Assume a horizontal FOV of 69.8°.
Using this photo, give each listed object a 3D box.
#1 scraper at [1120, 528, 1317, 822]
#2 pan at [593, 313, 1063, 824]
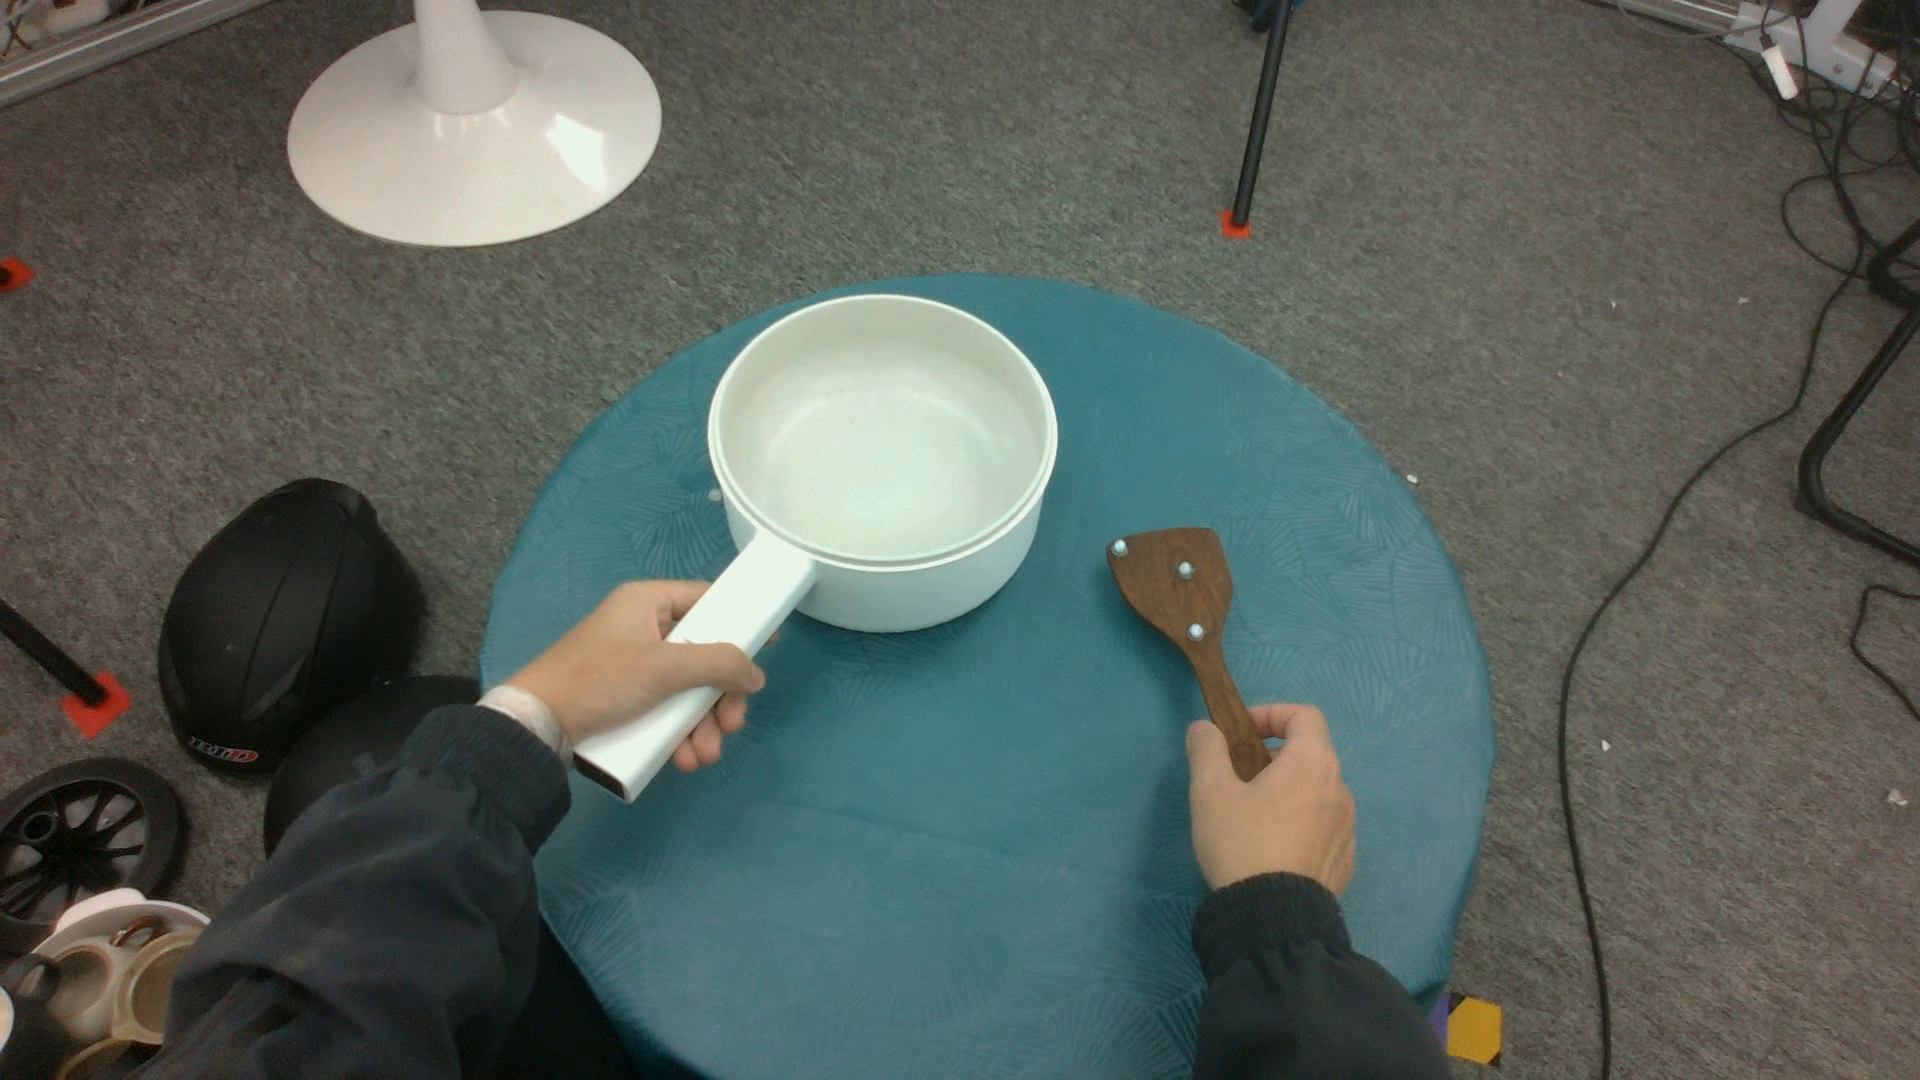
[{"bbox_3d":[0.156,0.073,0.799,0.076,0.011,0.212,-9,47,-8],"label":"scraper"},{"bbox_3d":[-0.078,0.023,0.806,0.201,0.101,0.356,26,60,16],"label":"pan"}]
